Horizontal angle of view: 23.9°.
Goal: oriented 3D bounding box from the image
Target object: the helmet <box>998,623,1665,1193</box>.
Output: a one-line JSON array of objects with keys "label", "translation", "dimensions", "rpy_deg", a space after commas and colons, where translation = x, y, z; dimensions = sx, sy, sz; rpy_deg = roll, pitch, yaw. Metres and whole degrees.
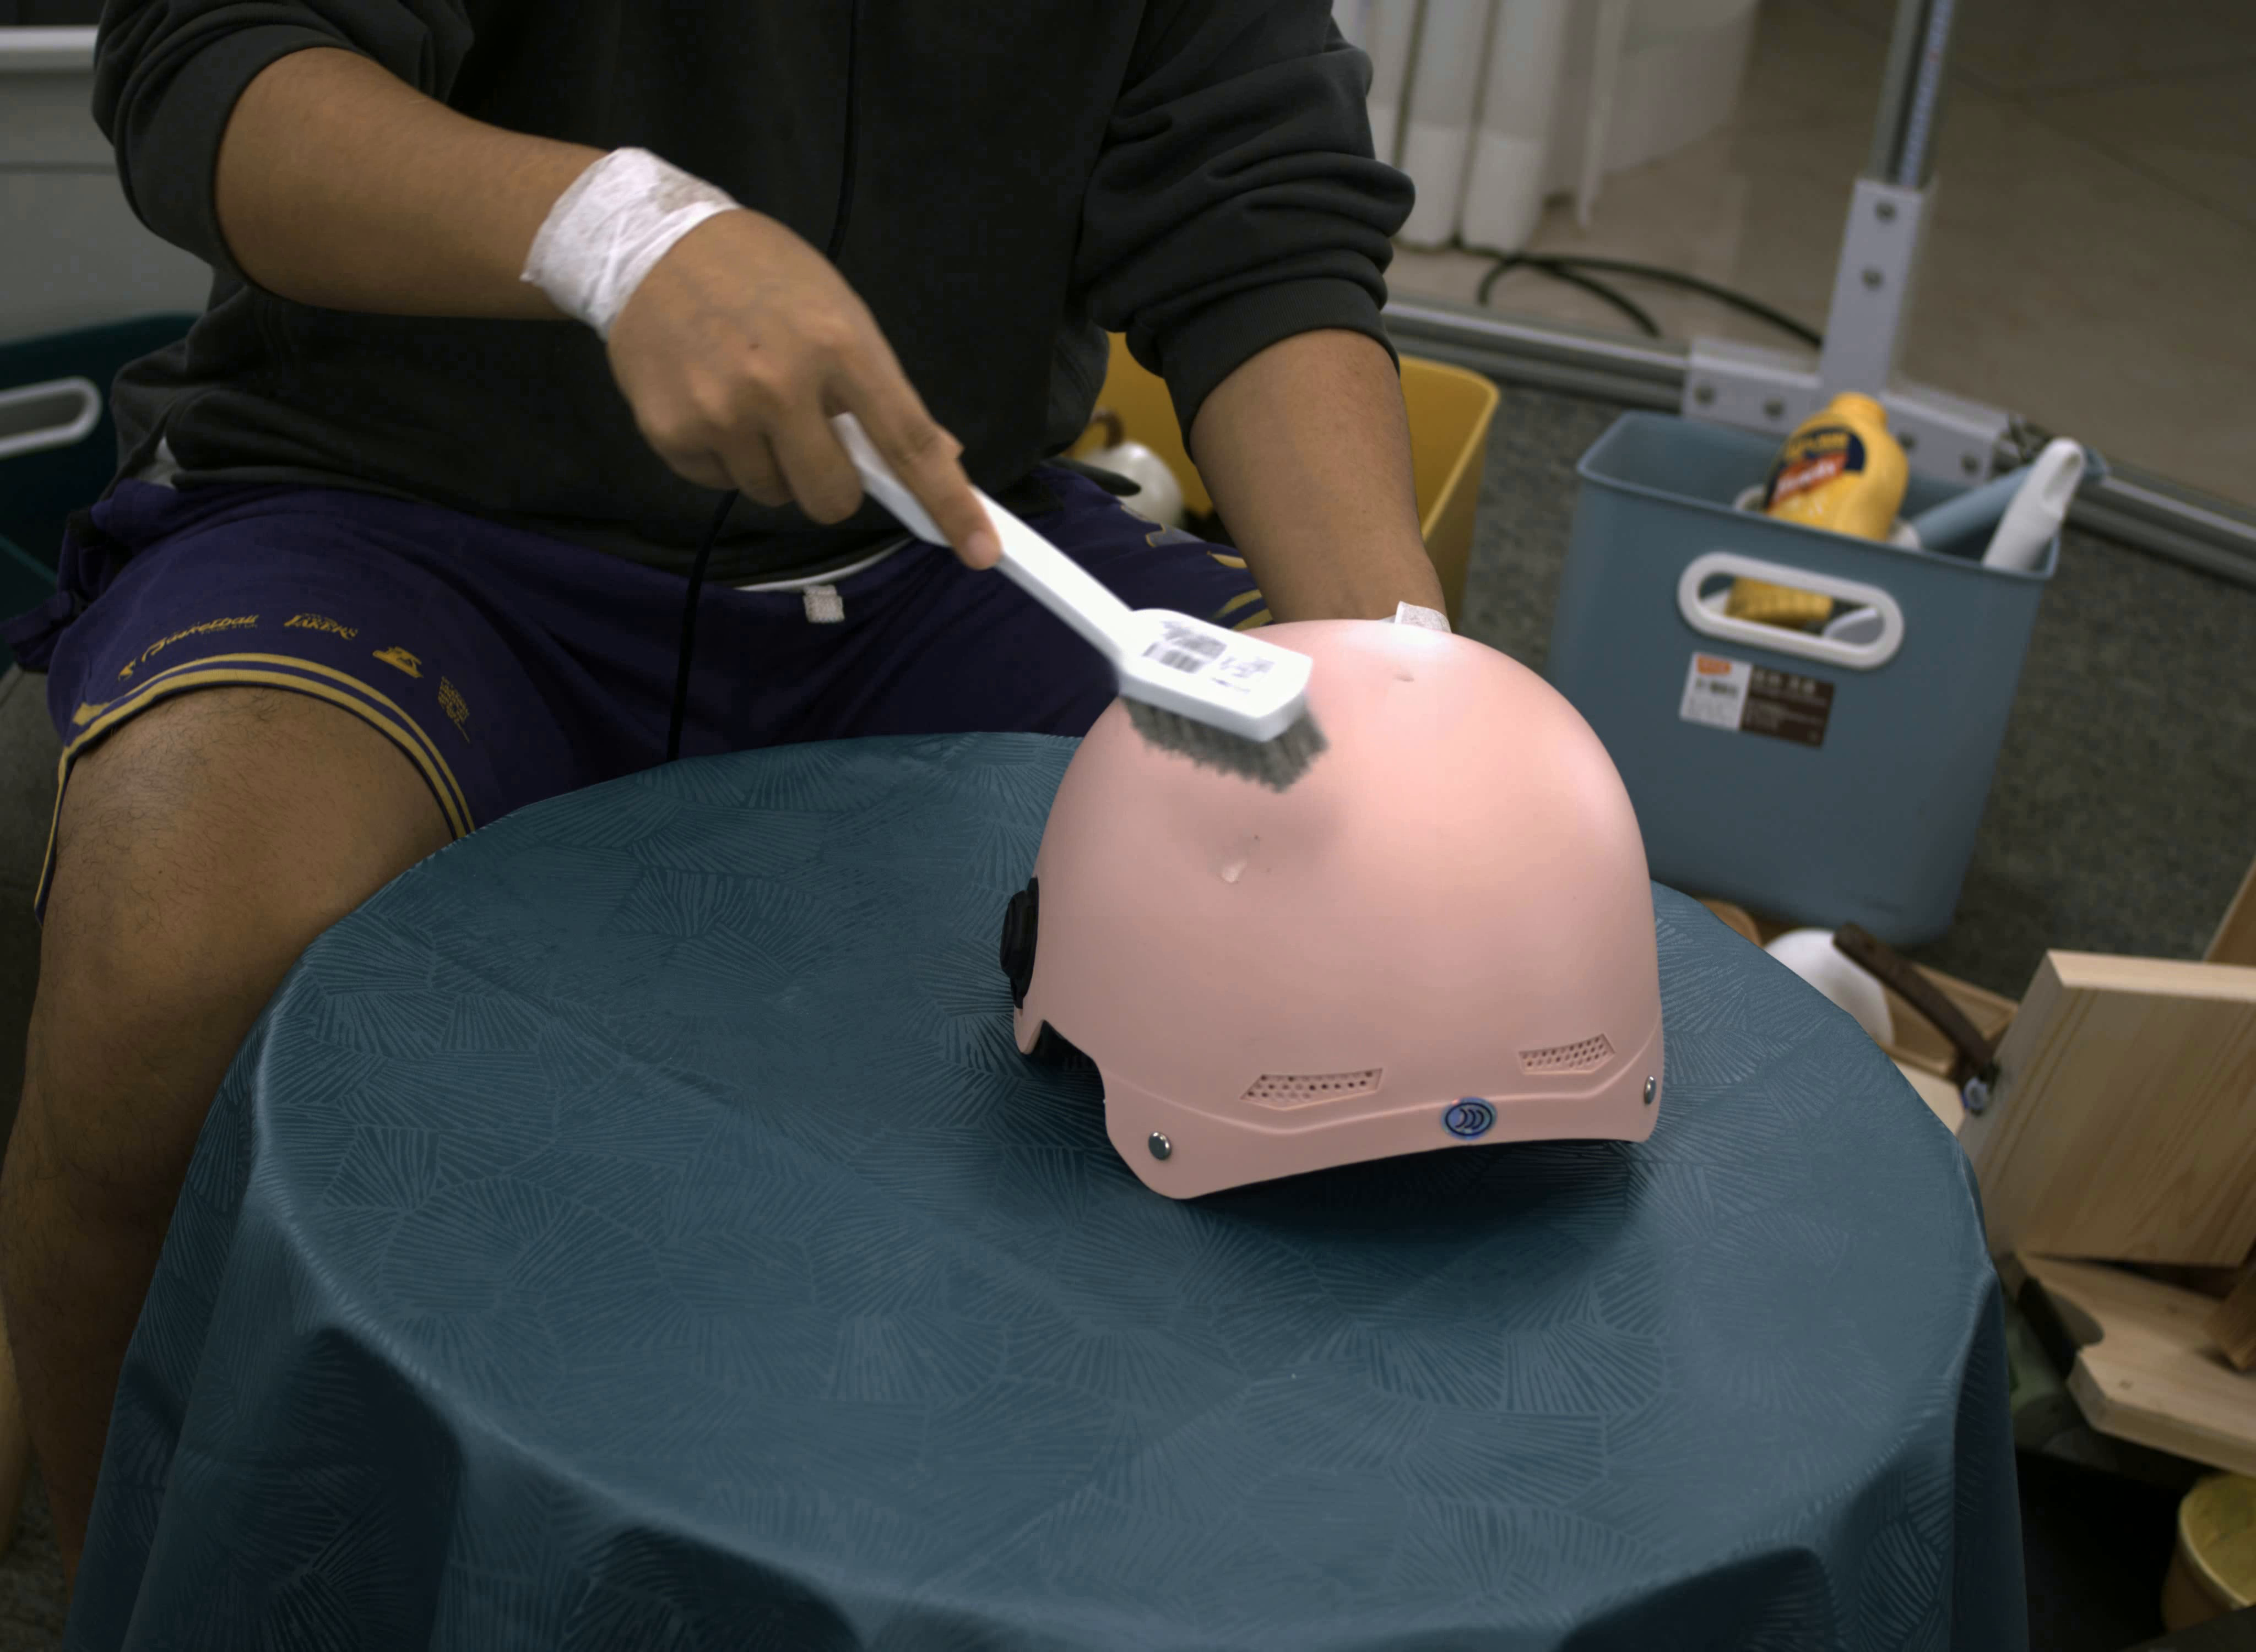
[{"label": "helmet", "translation": [0.073, 0.008, 1.865], "dimensions": [0.233, 0.158, 0.268], "rpy_deg": [-7, 25, -14]}]

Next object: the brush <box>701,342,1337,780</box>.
[{"label": "brush", "translation": [-0.039, -0.086, 1.752], "dimensions": [0.244, 0.050, 0.034], "rpy_deg": [29, 54, 13]}]
